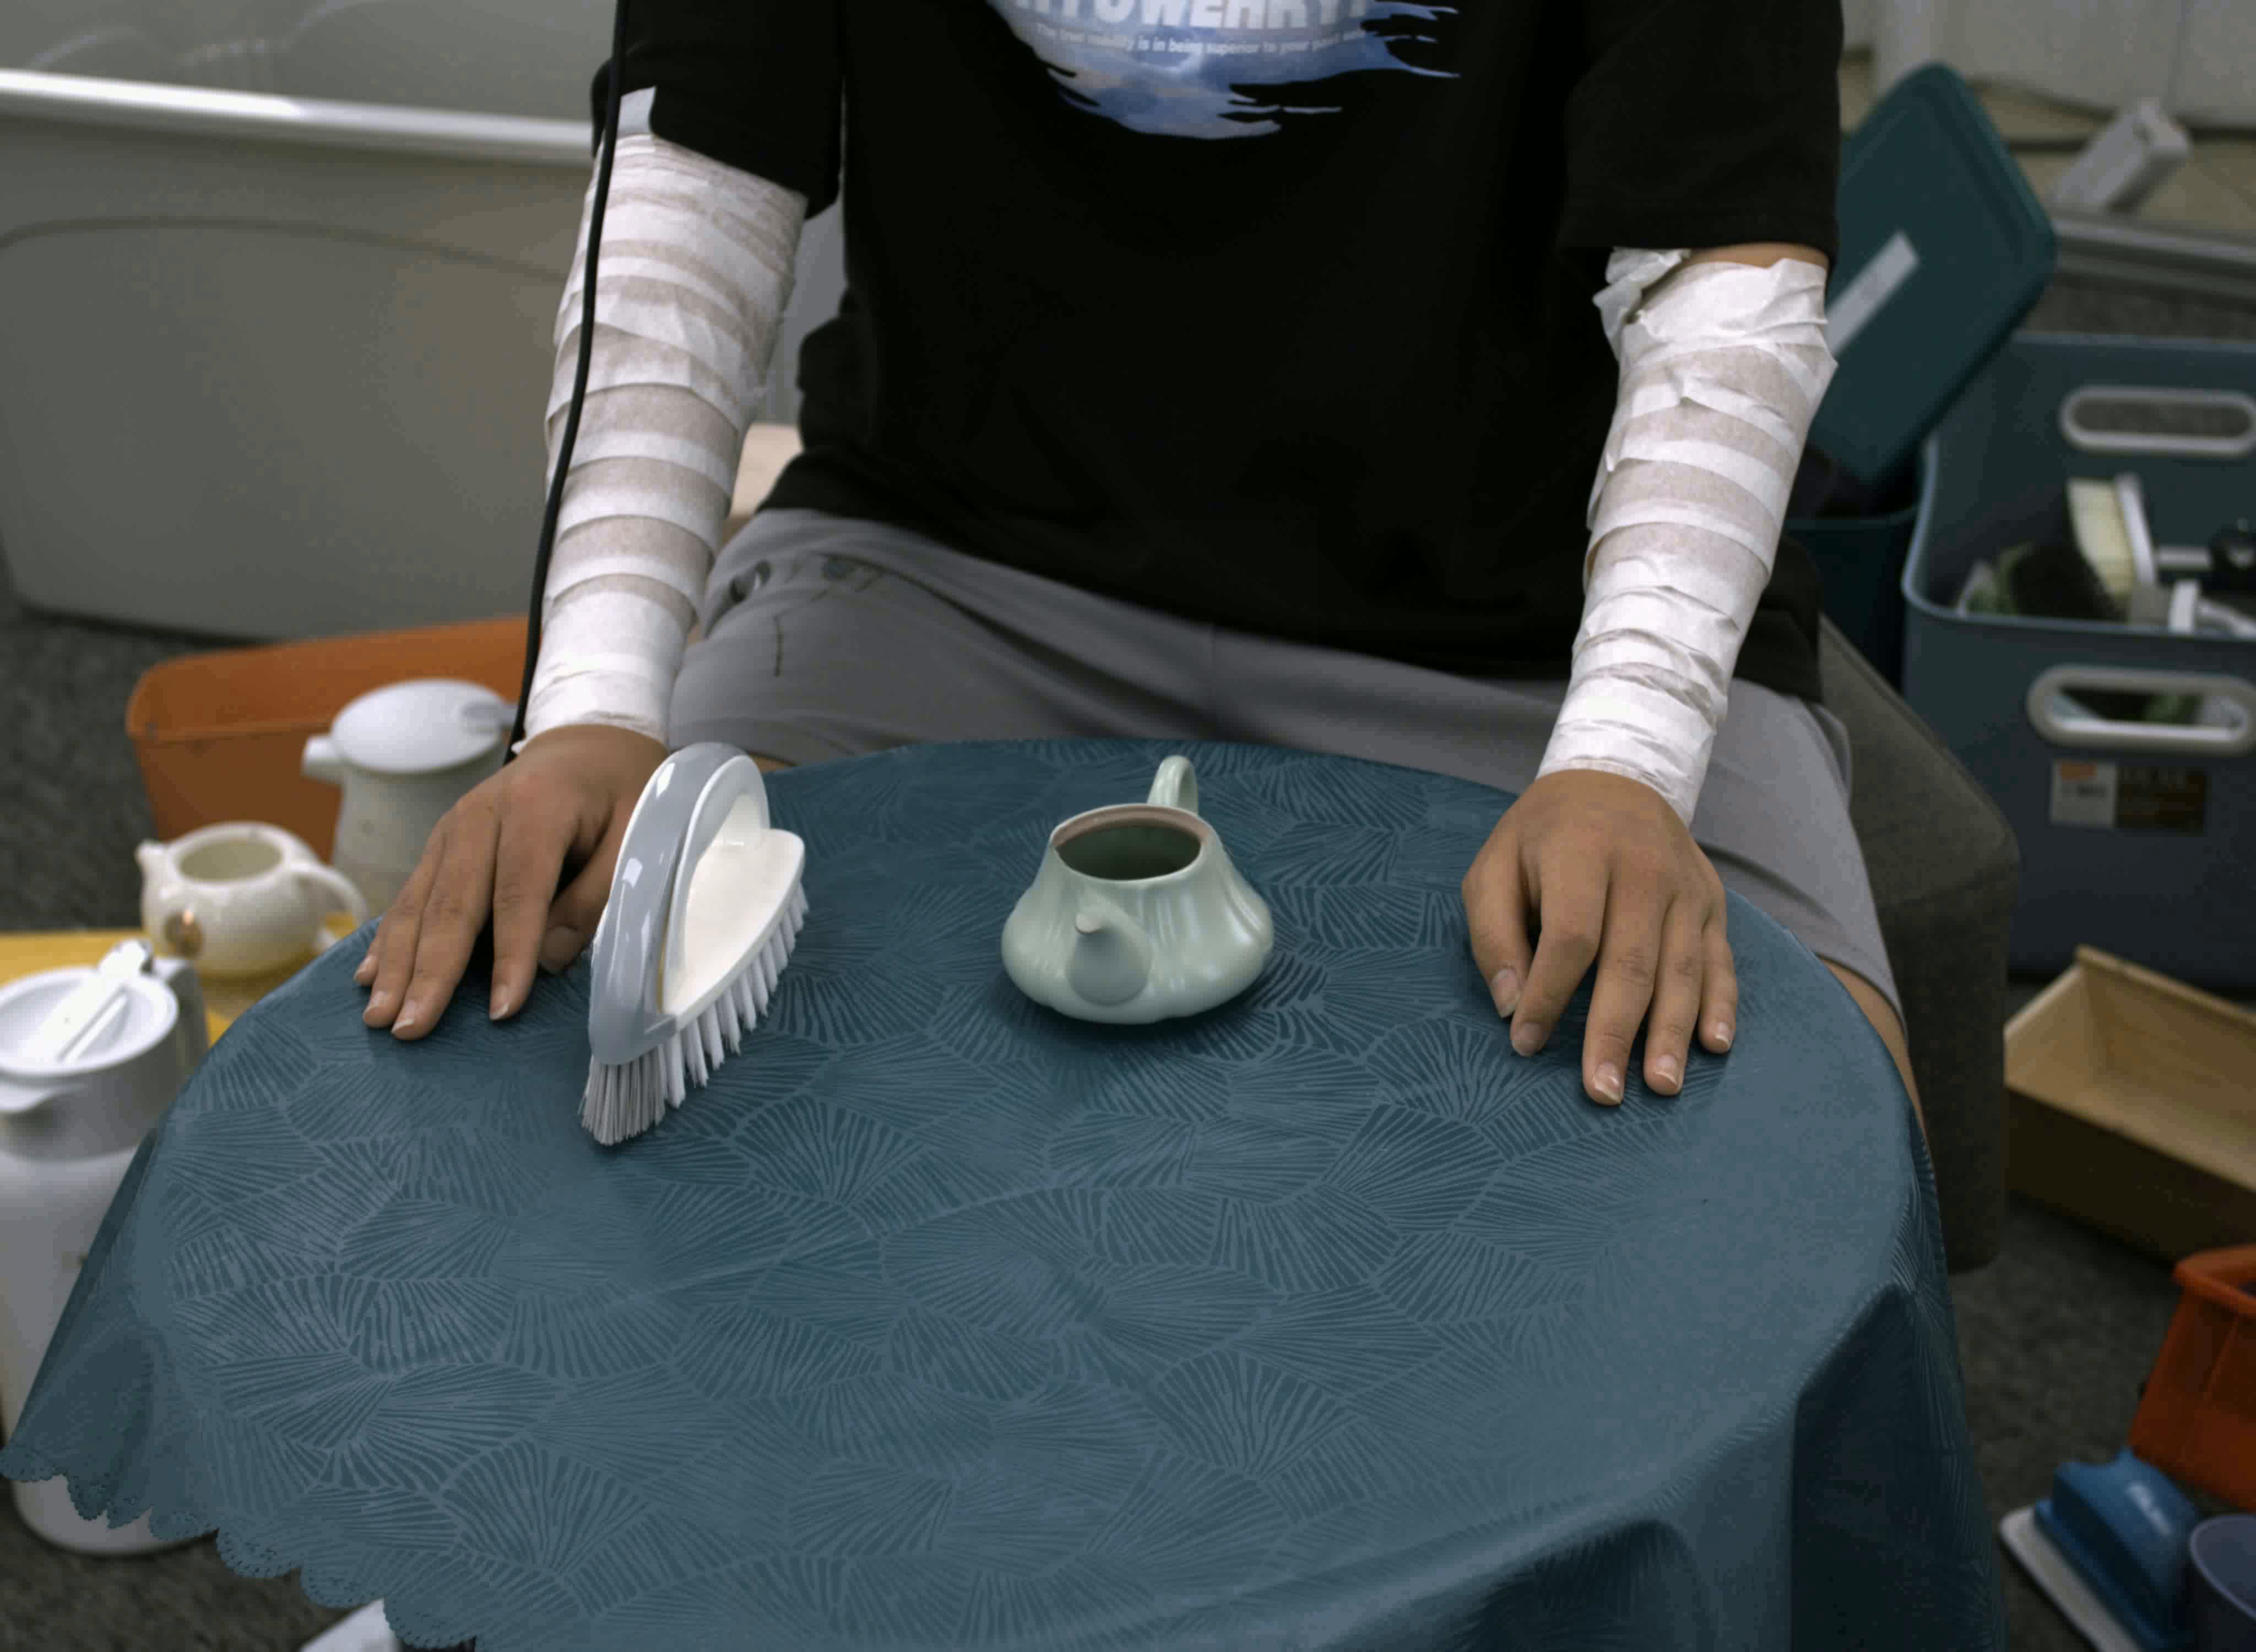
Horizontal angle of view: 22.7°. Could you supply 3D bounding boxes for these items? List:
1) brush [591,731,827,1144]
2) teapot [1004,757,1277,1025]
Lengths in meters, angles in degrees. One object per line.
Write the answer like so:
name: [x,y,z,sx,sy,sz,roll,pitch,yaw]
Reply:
brush: [-0.155,0.031,1.955,0.061,0.093,0.178,0,28,14]
teapot: [0.004,0.028,1.979,0.095,0.061,0.139,1,27,13]
